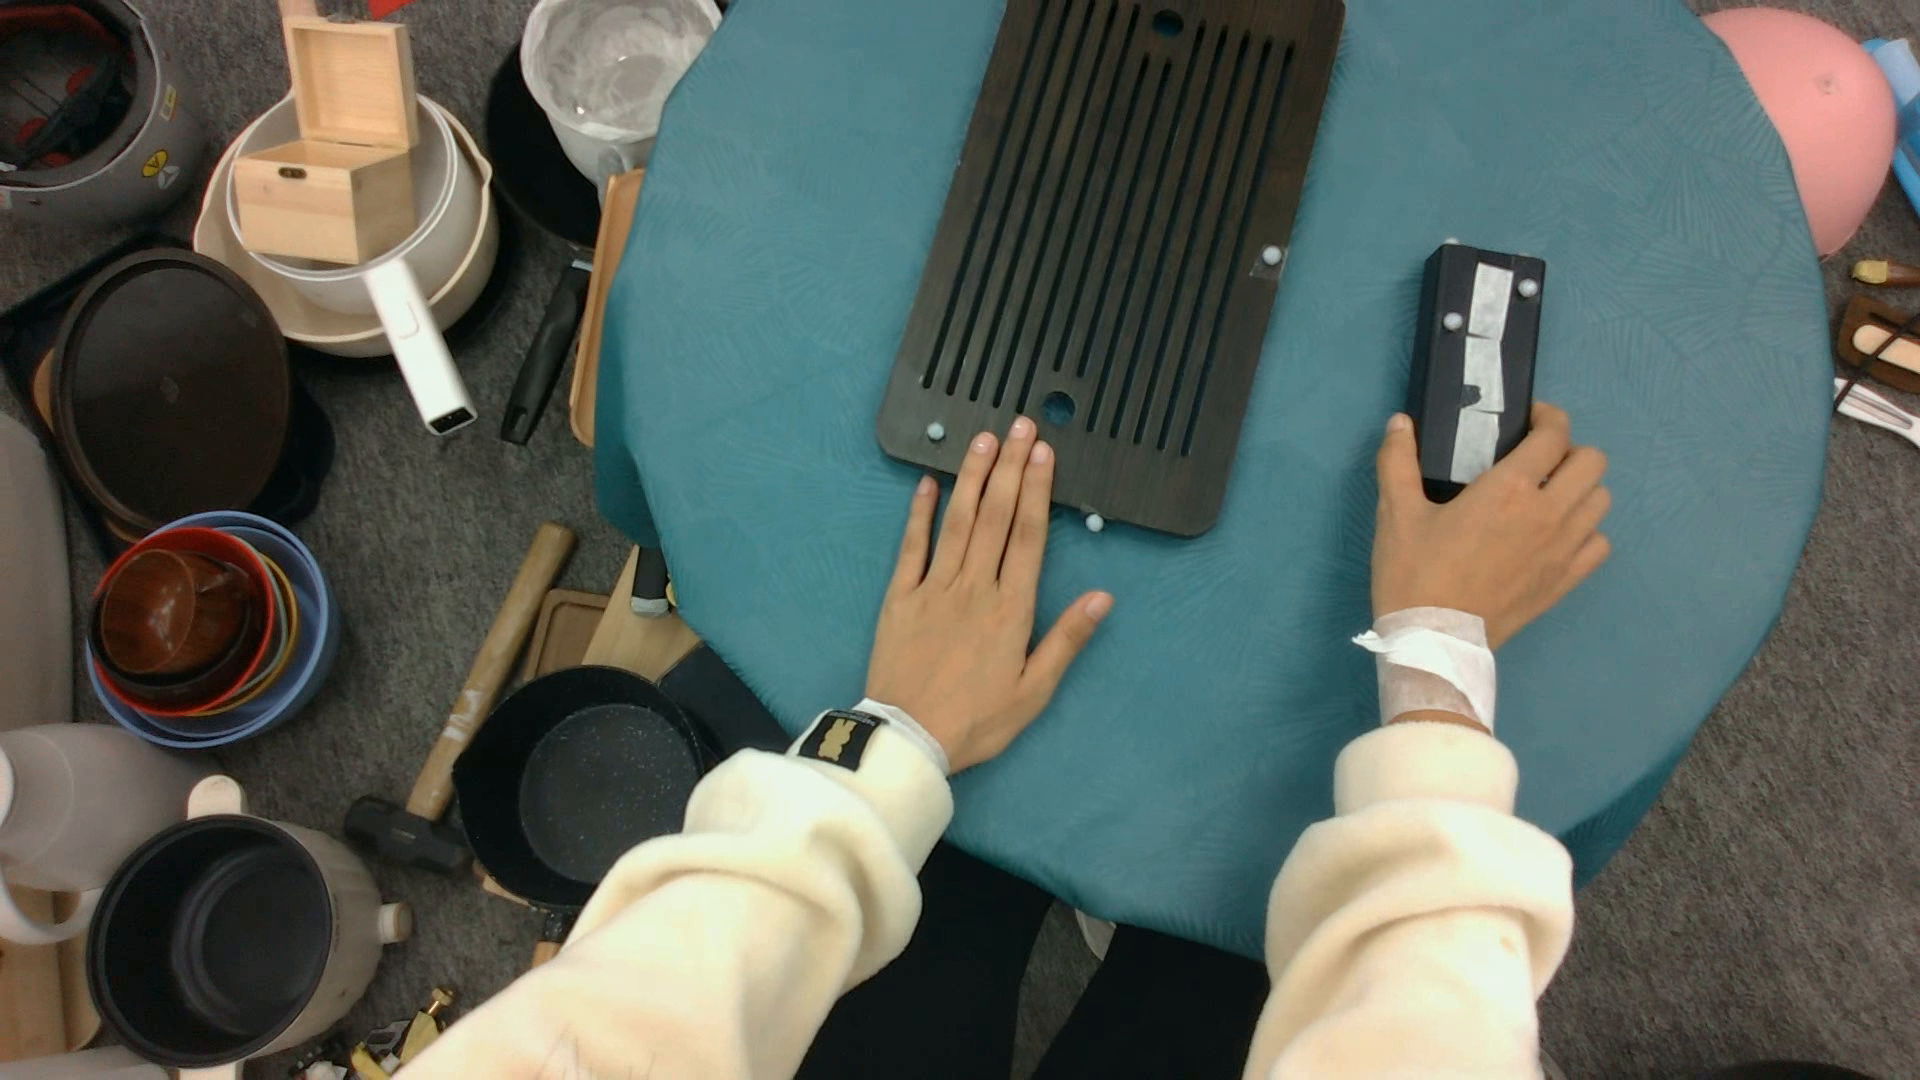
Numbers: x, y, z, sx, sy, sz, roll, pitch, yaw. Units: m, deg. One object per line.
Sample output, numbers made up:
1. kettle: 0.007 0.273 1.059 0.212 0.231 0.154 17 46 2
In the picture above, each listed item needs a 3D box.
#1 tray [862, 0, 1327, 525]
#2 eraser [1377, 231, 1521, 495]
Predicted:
1. tray: 0.072 -0.167 0.688 0.170 0.018 0.306 15 75 4
2. eraser: 0.235 -0.086 0.662 0.053 0.030 0.126 10 76 4
